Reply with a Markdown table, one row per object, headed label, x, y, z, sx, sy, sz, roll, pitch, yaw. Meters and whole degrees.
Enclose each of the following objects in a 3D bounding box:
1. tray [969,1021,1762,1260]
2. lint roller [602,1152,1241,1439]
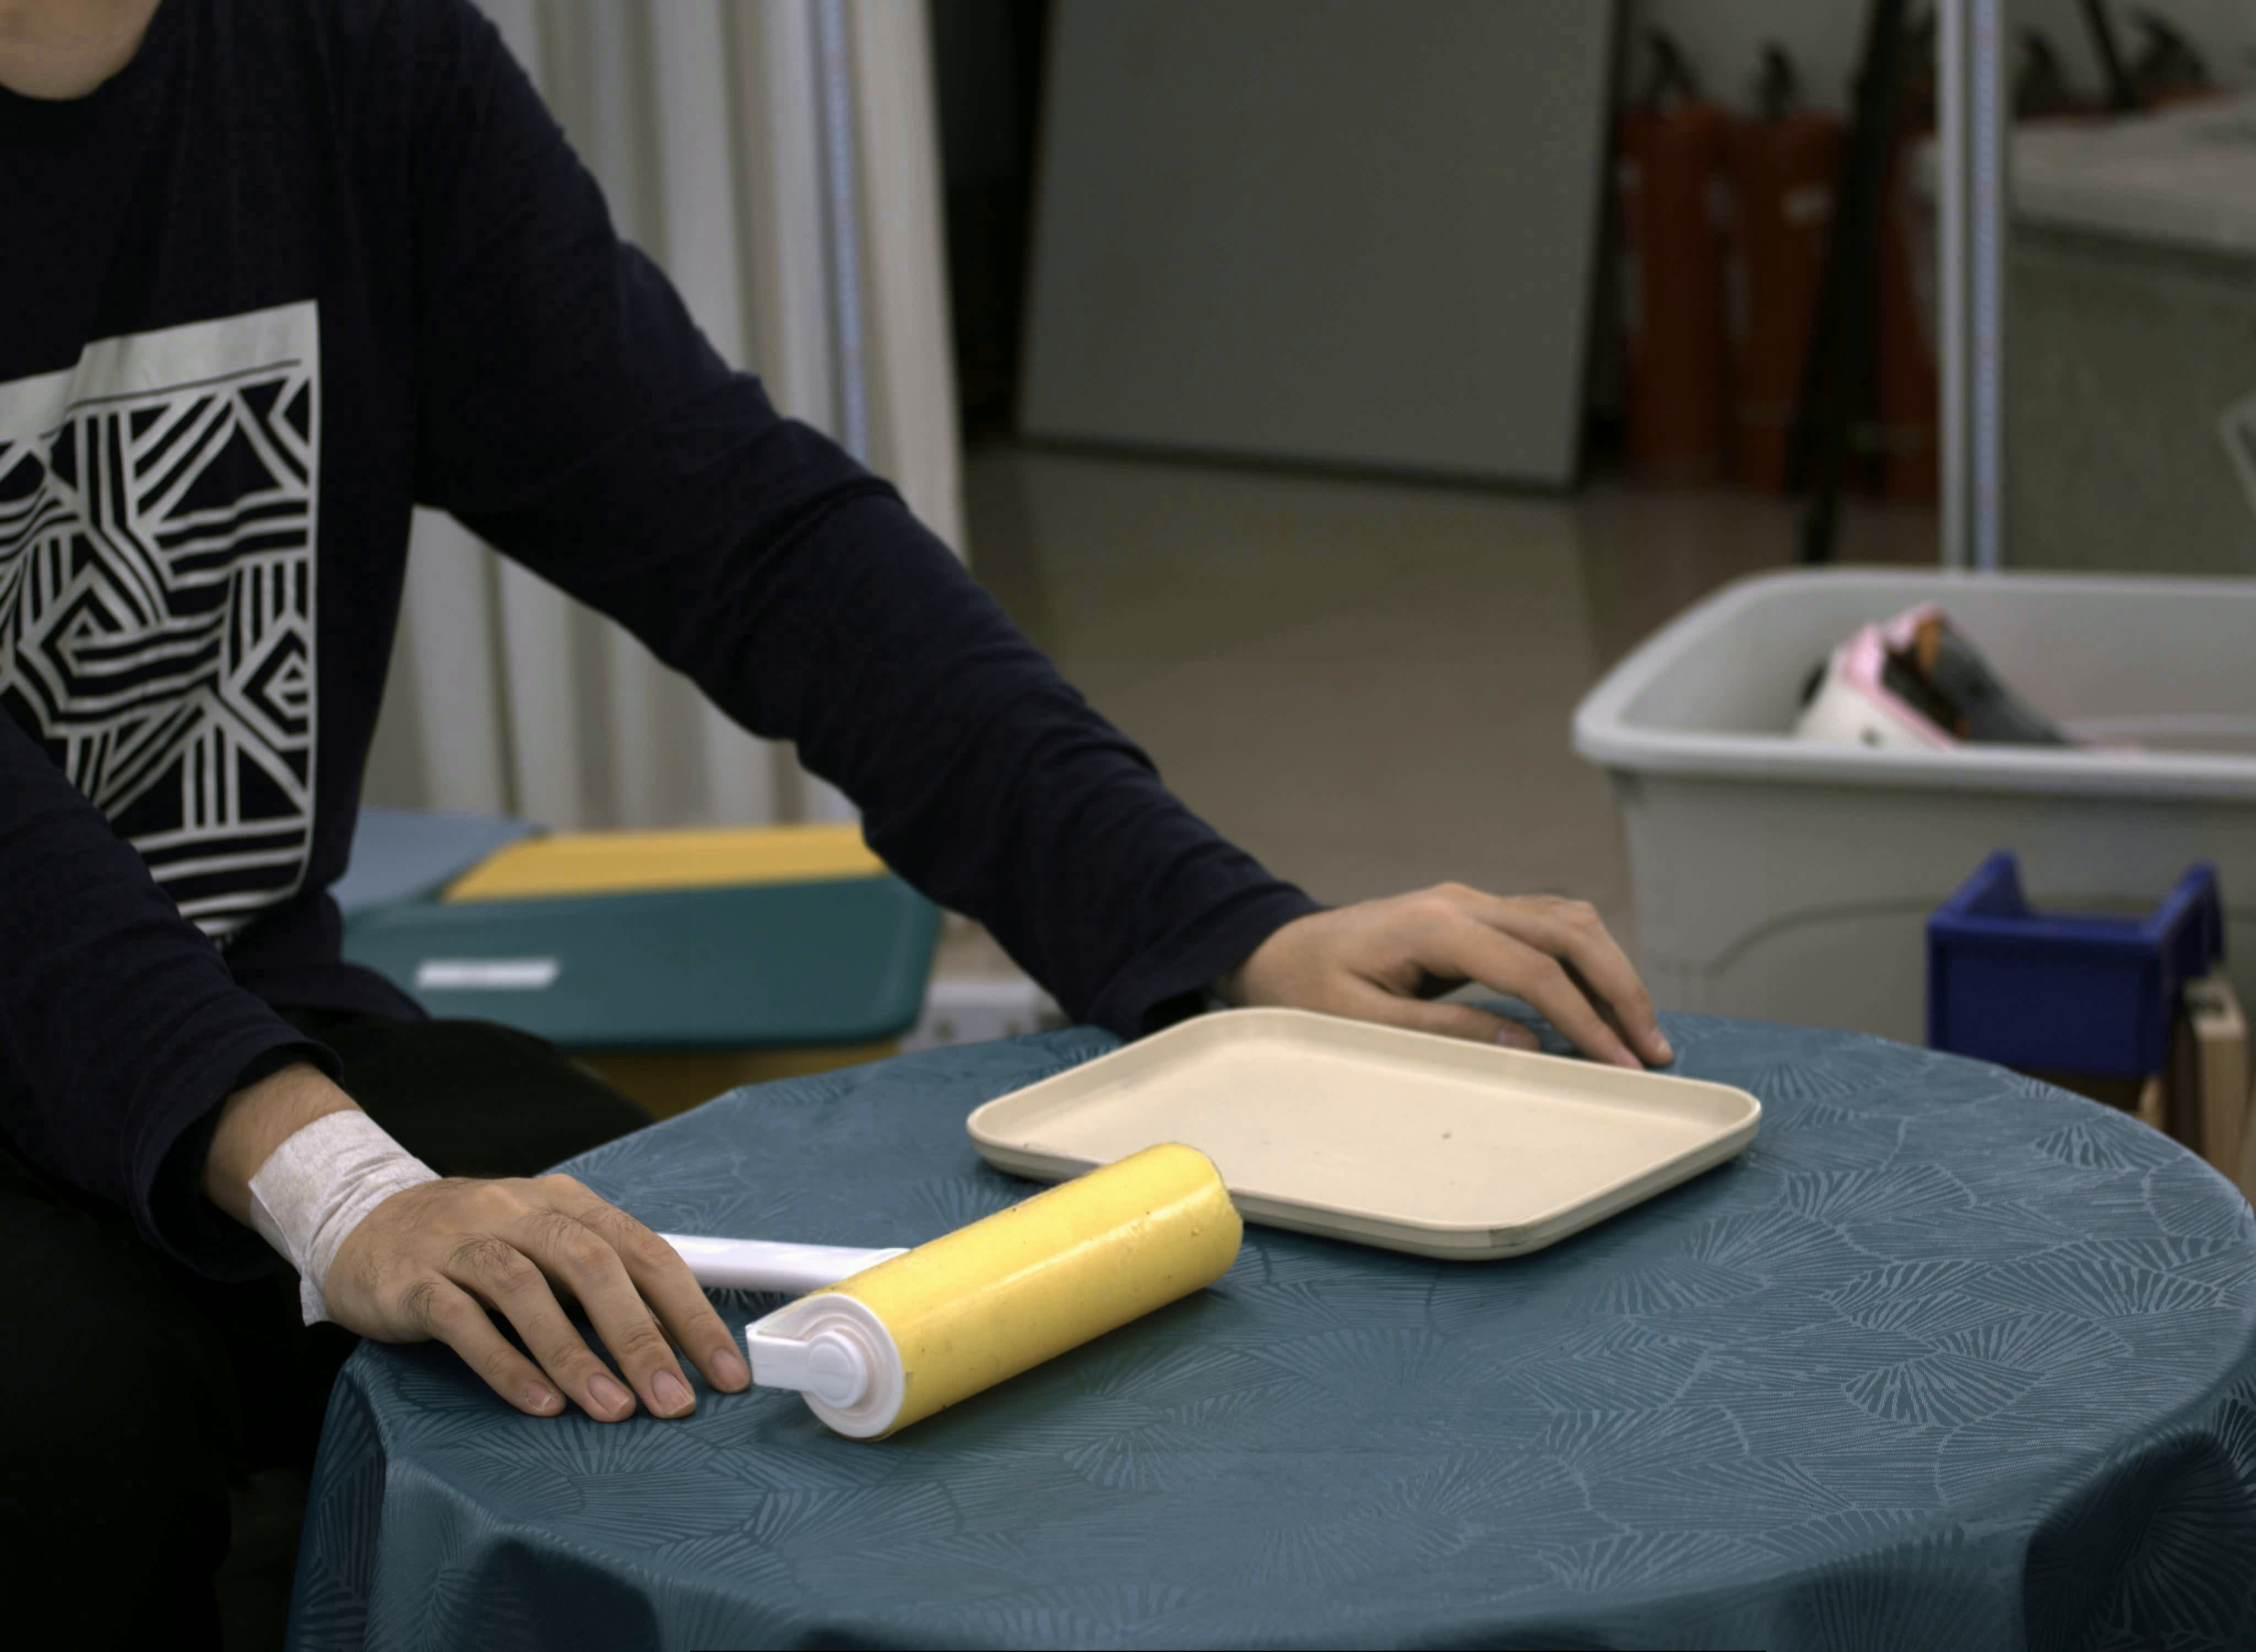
| label | x | y | z | sx | sy | sz | roll | pitch | yaw |
| --- | --- | --- | --- | --- | --- | --- | --- | --- | --- |
| tray | 0.078 | 0.104 | 1.789 | 0.241 | 0.017 | 0.168 | 7 | 17 | 40 |
| lint roller | -0.088 | 0.131 | 1.657 | 0.193 | 0.052 | 0.171 | 10 | 18 | 37 |
